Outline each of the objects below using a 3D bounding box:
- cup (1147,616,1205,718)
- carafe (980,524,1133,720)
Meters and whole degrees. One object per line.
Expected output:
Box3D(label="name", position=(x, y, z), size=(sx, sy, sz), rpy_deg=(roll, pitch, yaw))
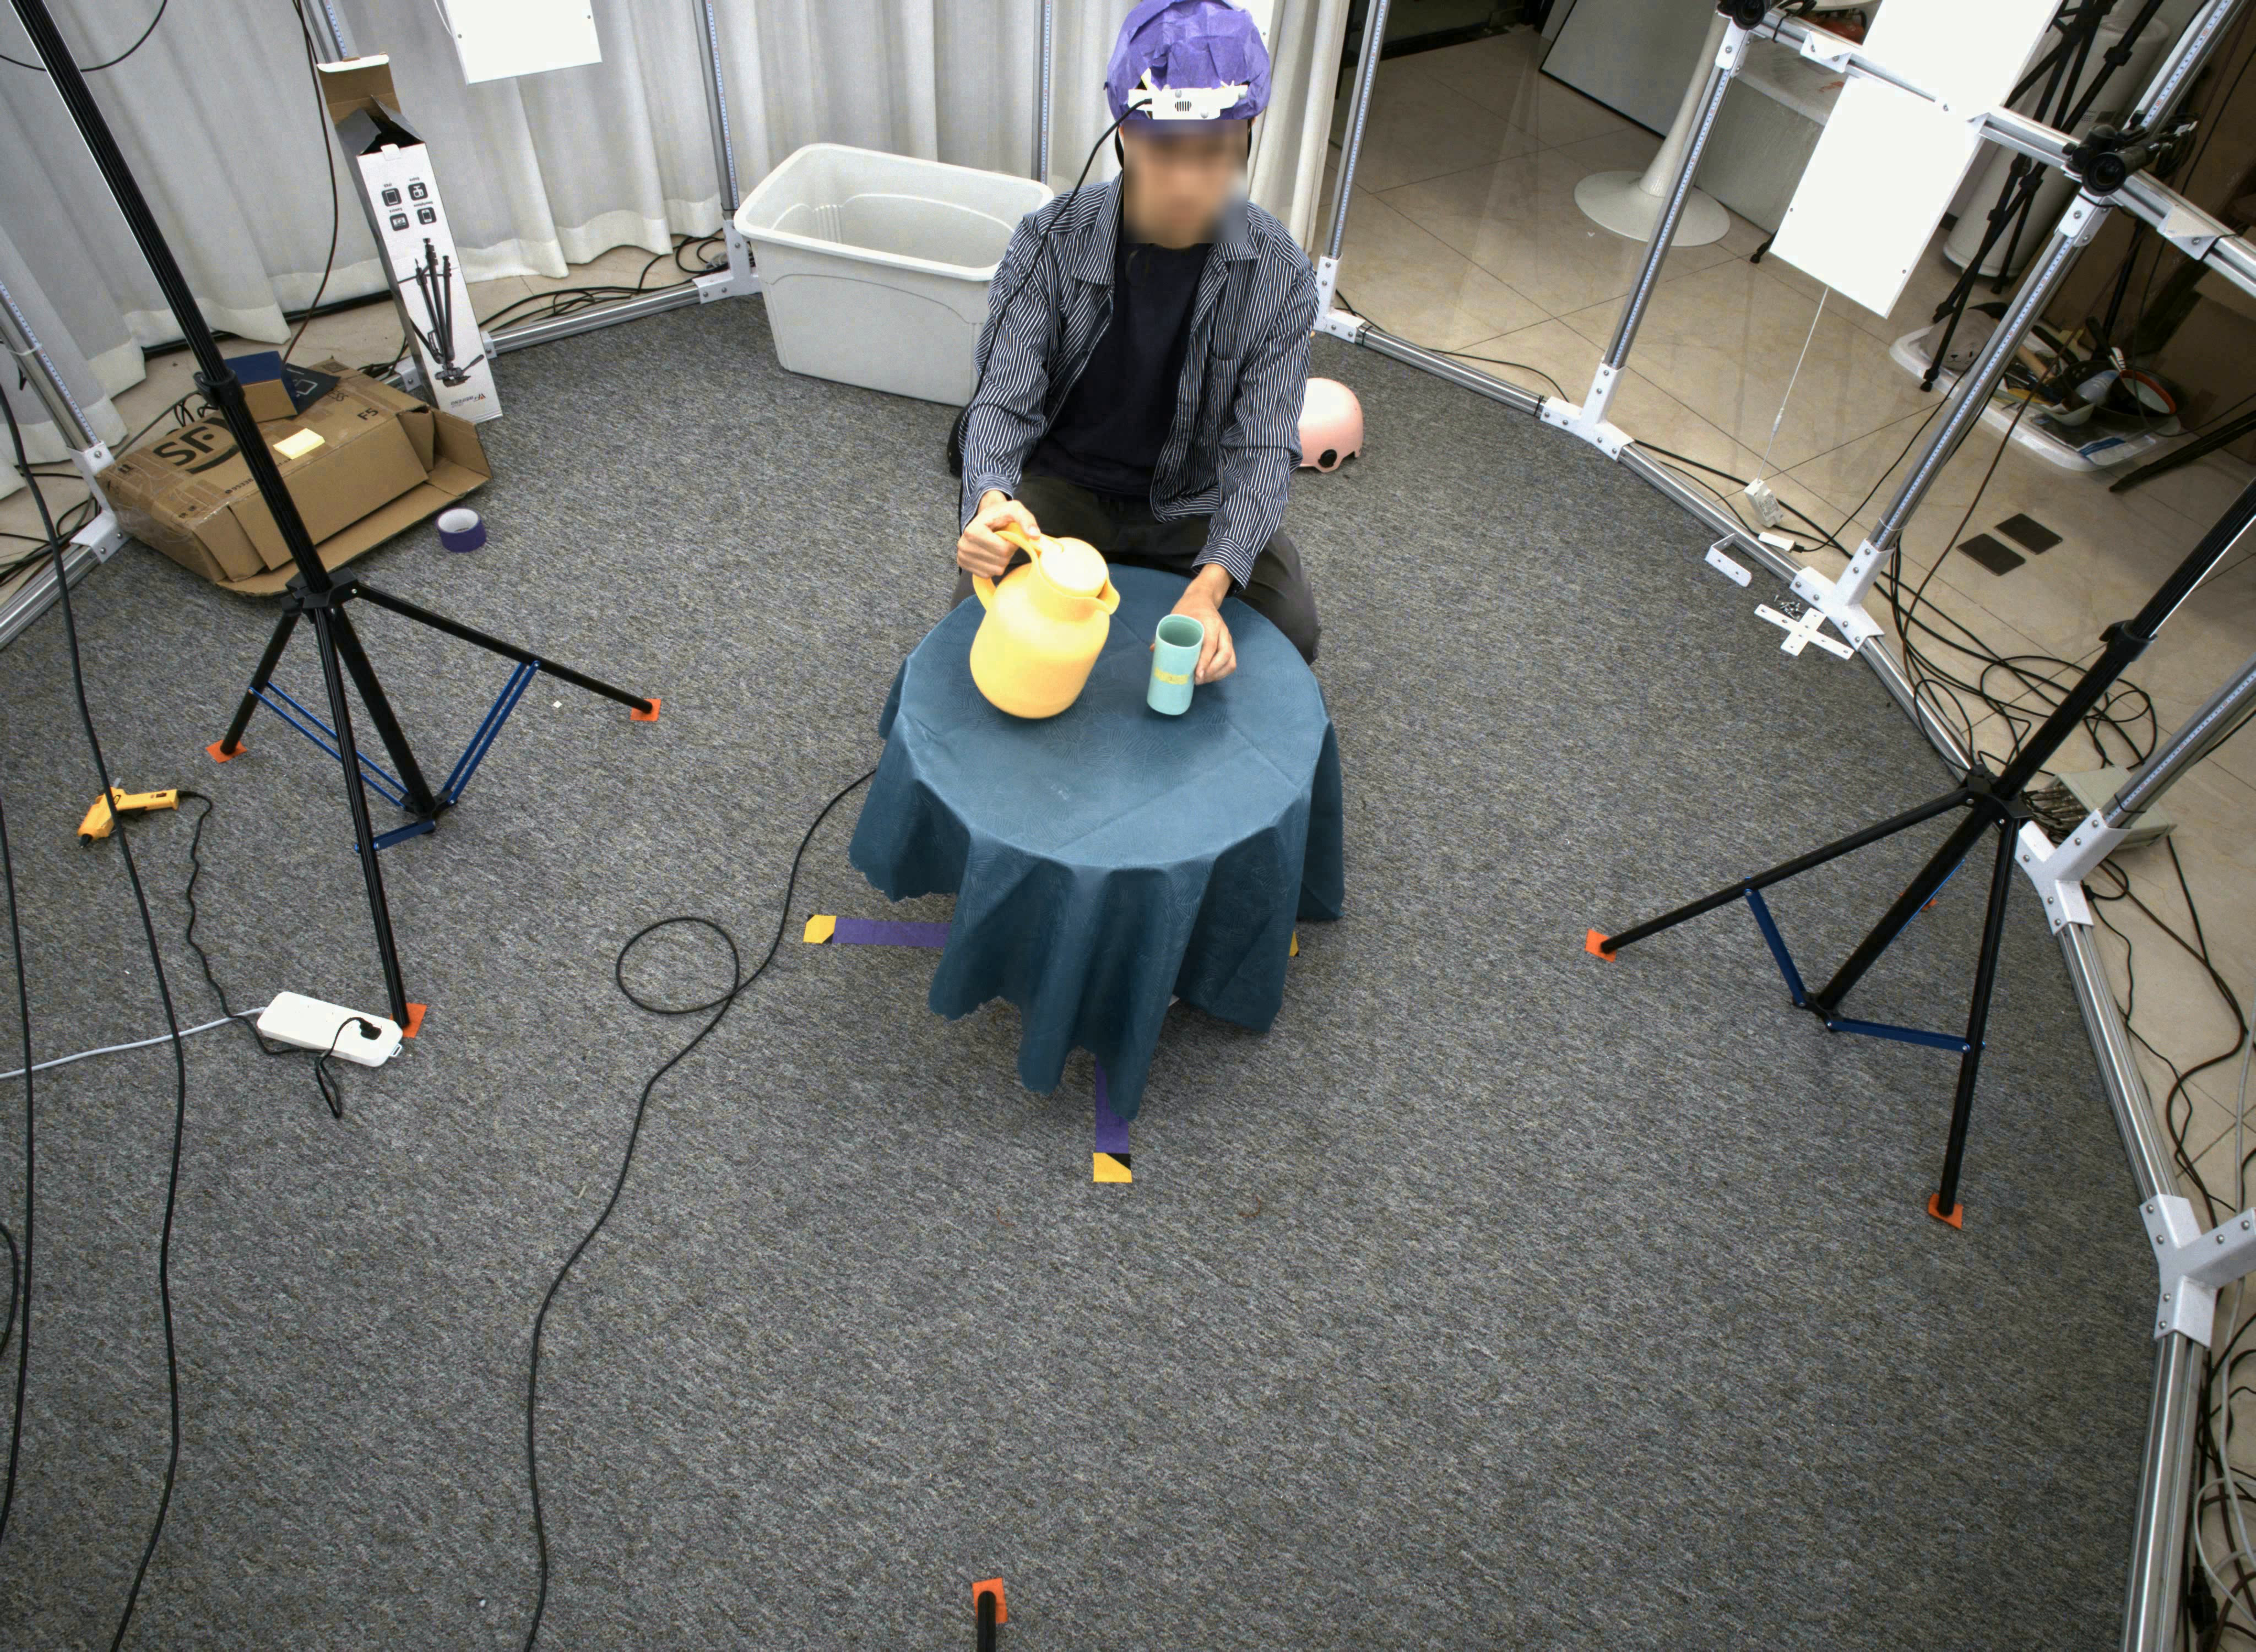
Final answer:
Box3D(label="cup", position=(0.064, -0.217, 1.751), size=(0.066, 0.129, 0.068), rpy_deg=(4, 49, -5))
Box3D(label="carafe", position=(-0.107, -0.280, 1.710), size=(0.203, 0.256, 0.166), rpy_deg=(38, 52, 3))
